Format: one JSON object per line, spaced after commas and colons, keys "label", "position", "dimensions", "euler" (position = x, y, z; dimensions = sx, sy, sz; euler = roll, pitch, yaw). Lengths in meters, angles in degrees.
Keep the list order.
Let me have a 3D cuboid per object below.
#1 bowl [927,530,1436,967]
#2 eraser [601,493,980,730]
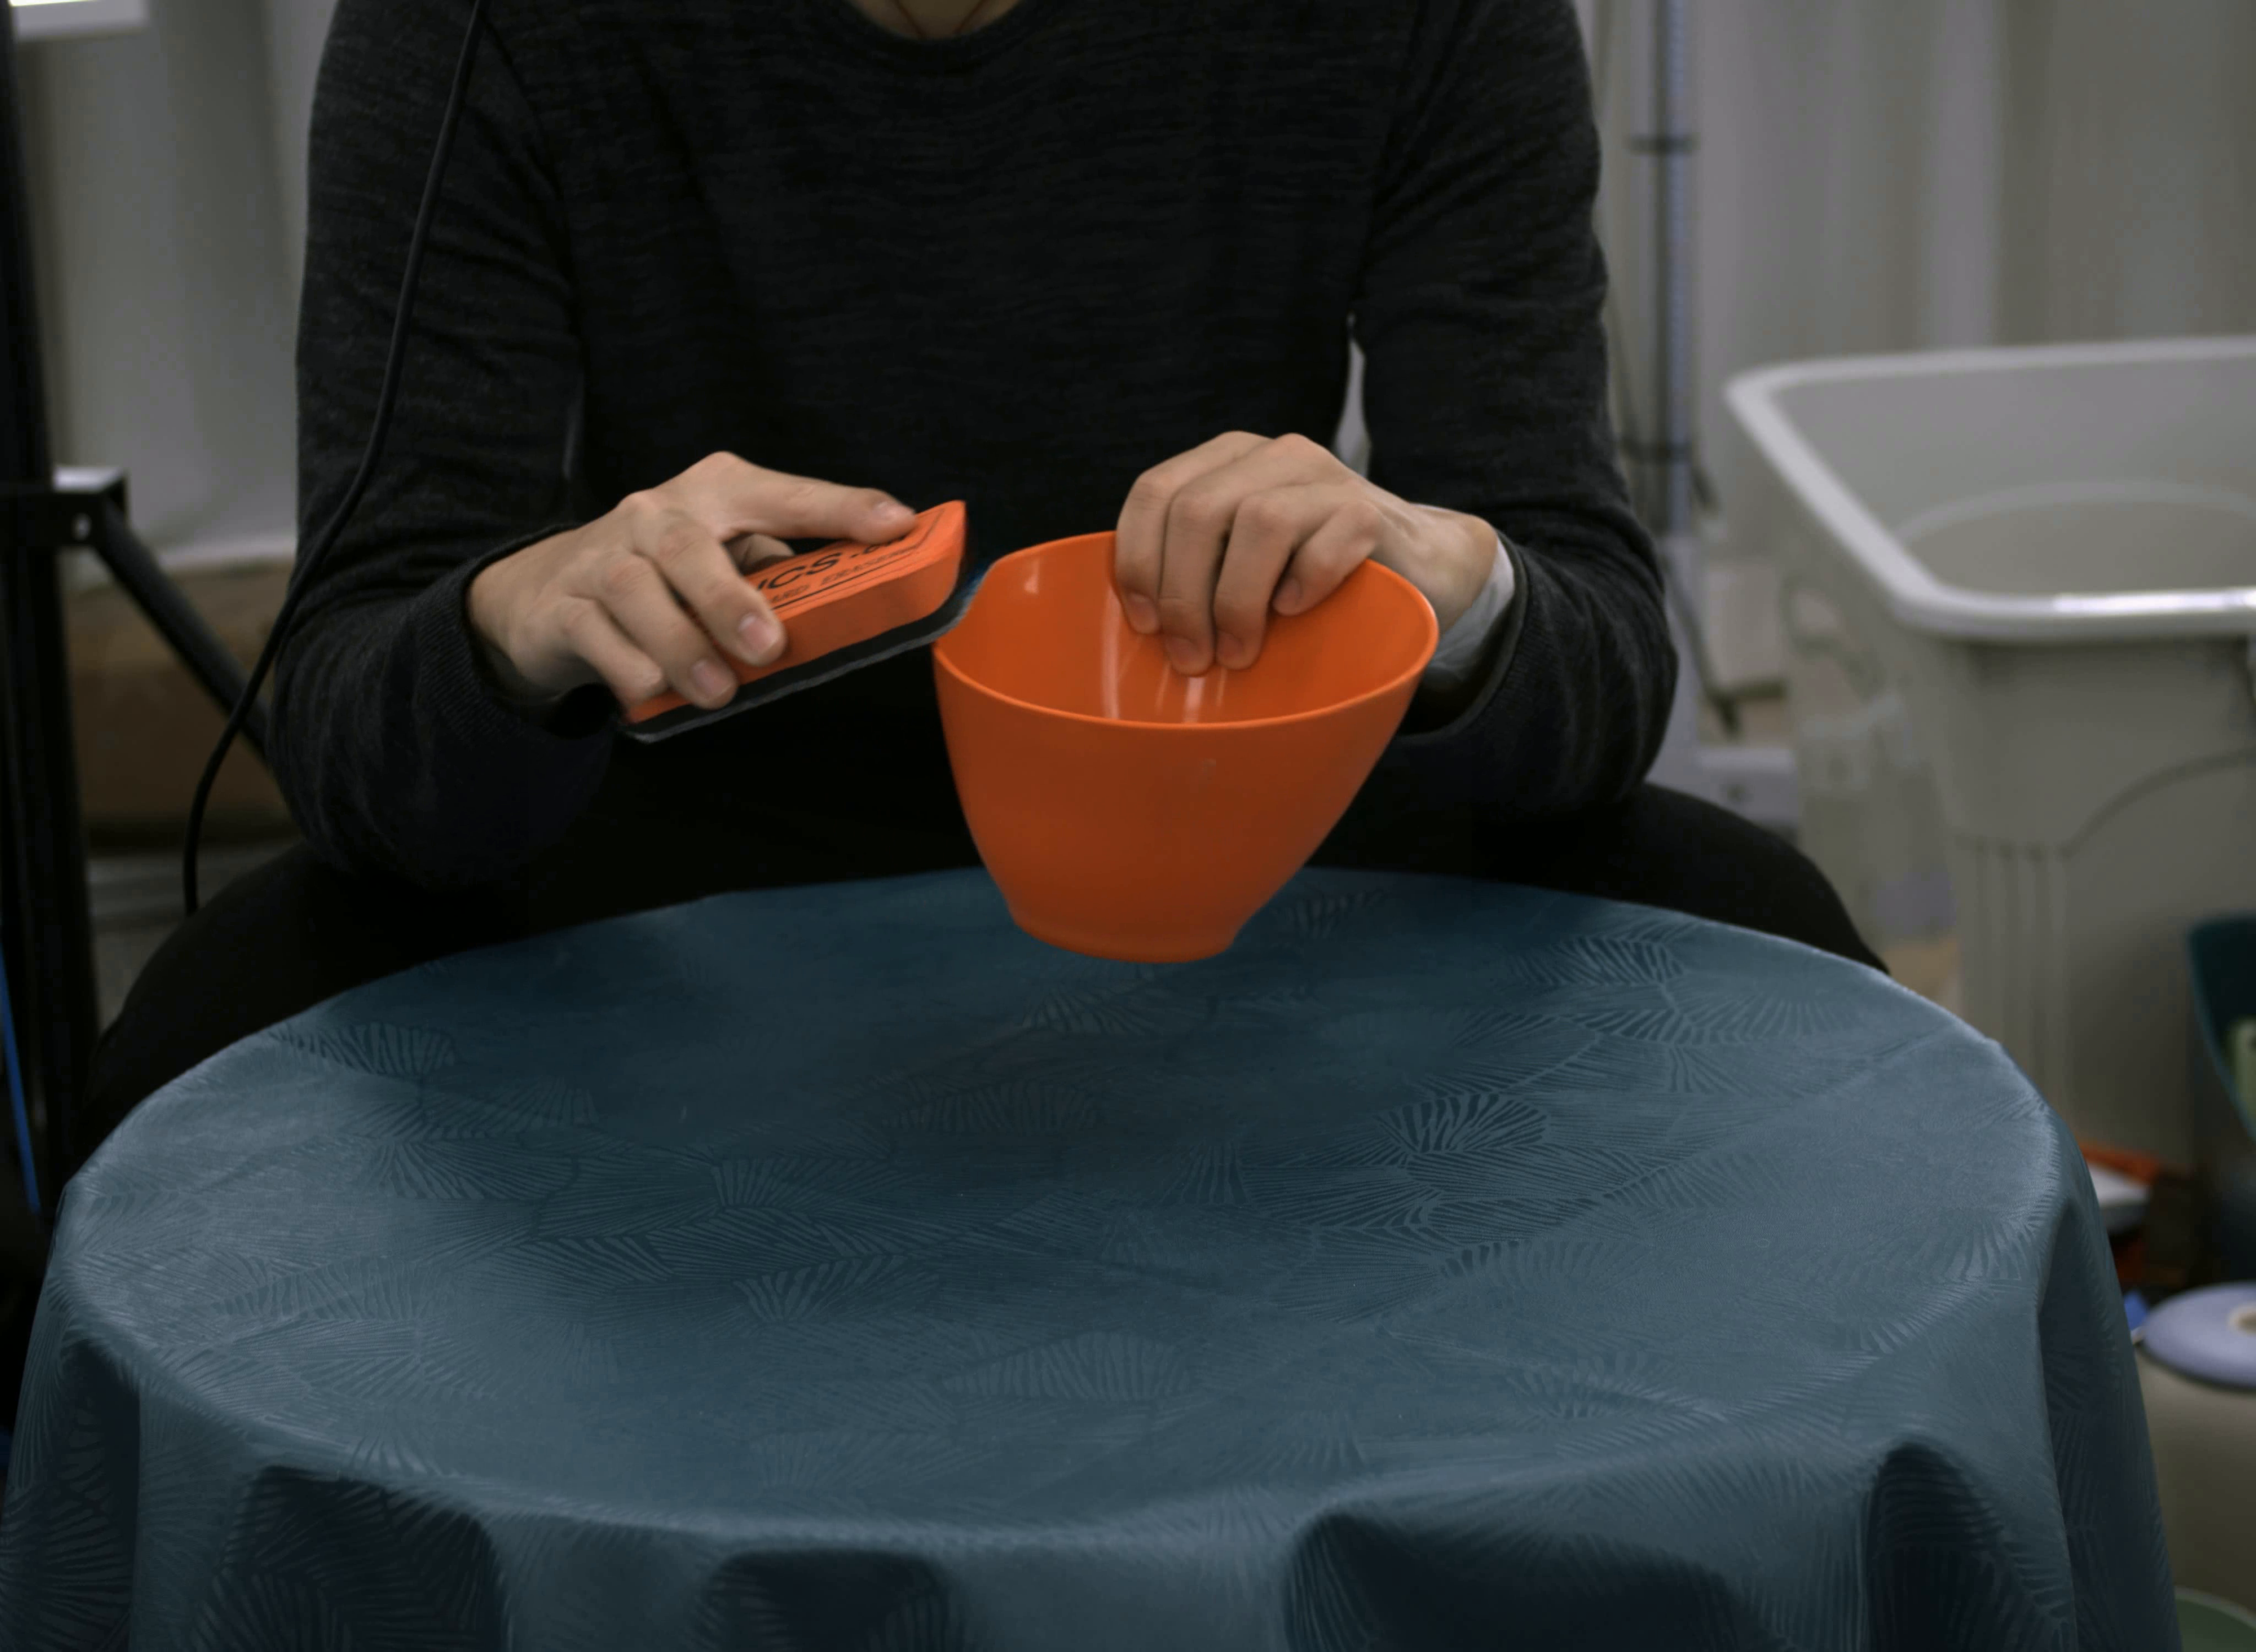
{"label": "bowl", "position": [0.010, -0.020, 1.555], "dimensions": [0.147, 0.105, 0.149], "euler": [7, 18, -4]}
{"label": "eraser", "position": [-0.098, -0.063, 1.562], "dimensions": [0.109, 0.022, 0.059], "euler": [-18, 21, 21]}
